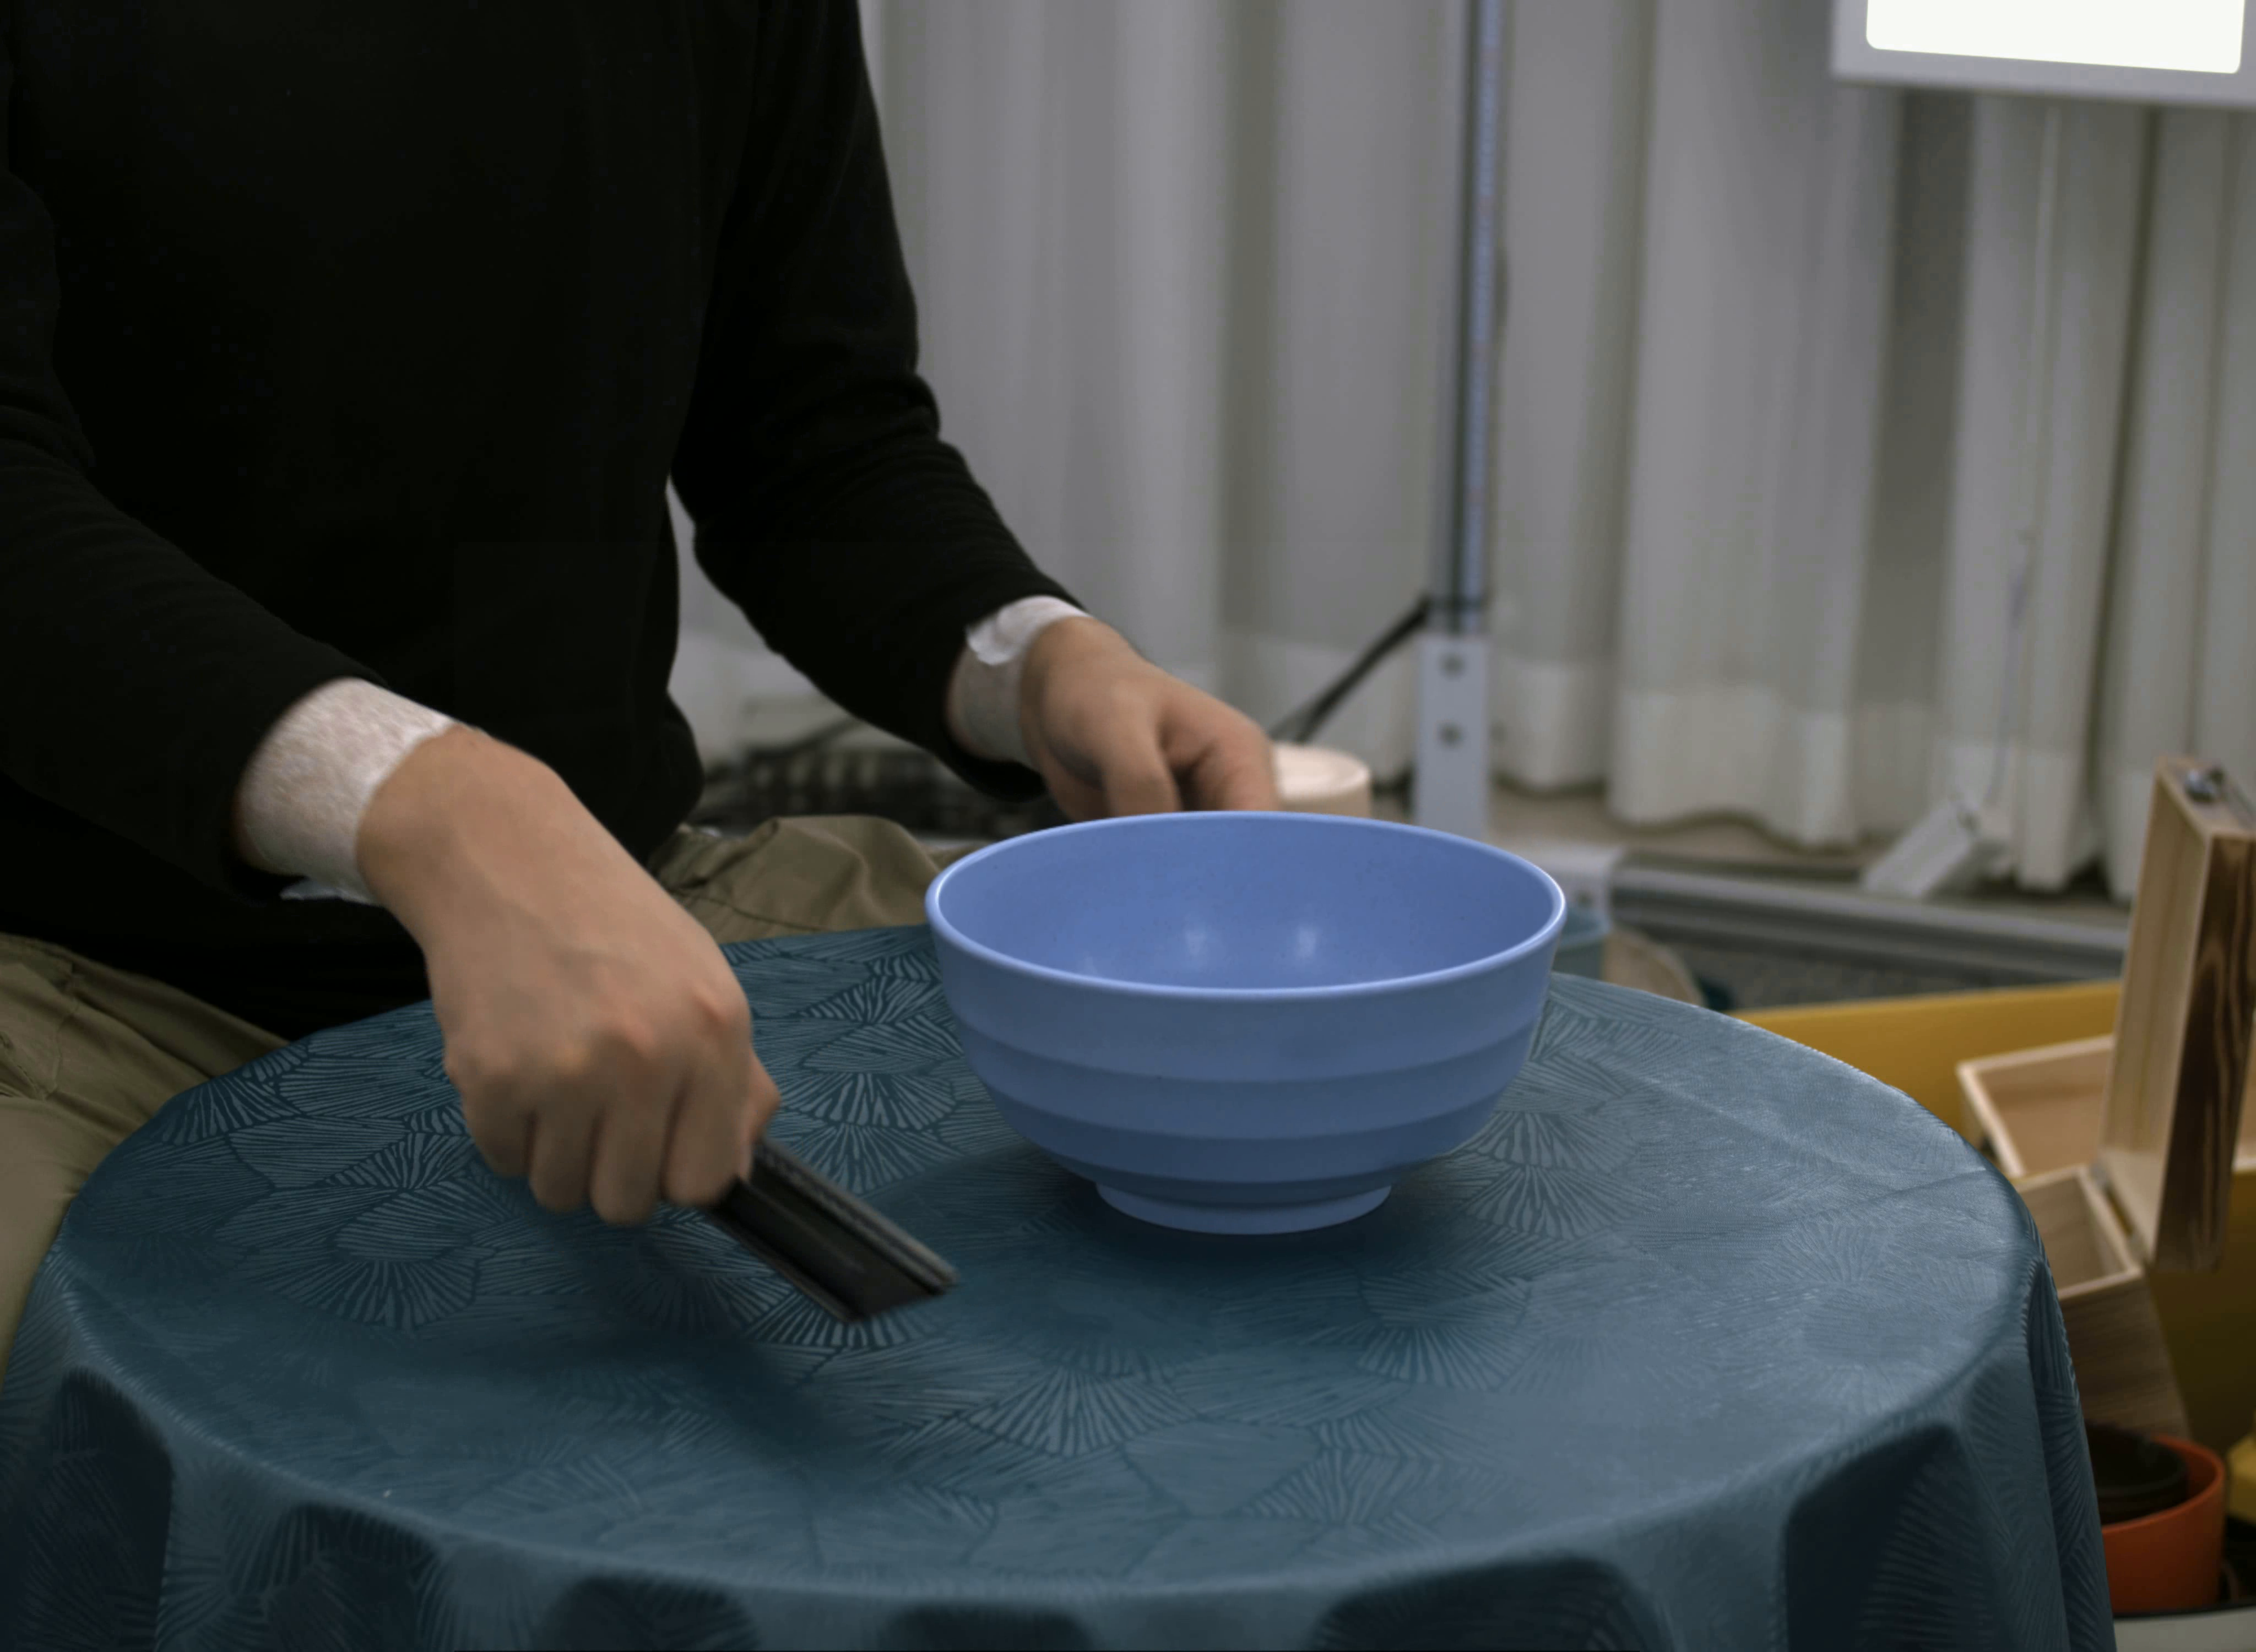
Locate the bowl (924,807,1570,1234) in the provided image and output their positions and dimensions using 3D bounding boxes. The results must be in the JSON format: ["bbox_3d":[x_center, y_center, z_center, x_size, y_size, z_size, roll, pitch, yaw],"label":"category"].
[{"bbox_3d":[0.035,0.065,1.612,0.196,0.096,0.195,1,16,0],"label":"bowl"}]

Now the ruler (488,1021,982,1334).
[{"bbox_3d":[-0.120,0.094,1.530,0.039,0.017,0.309,-13,16,-23],"label":"ruler"}]
